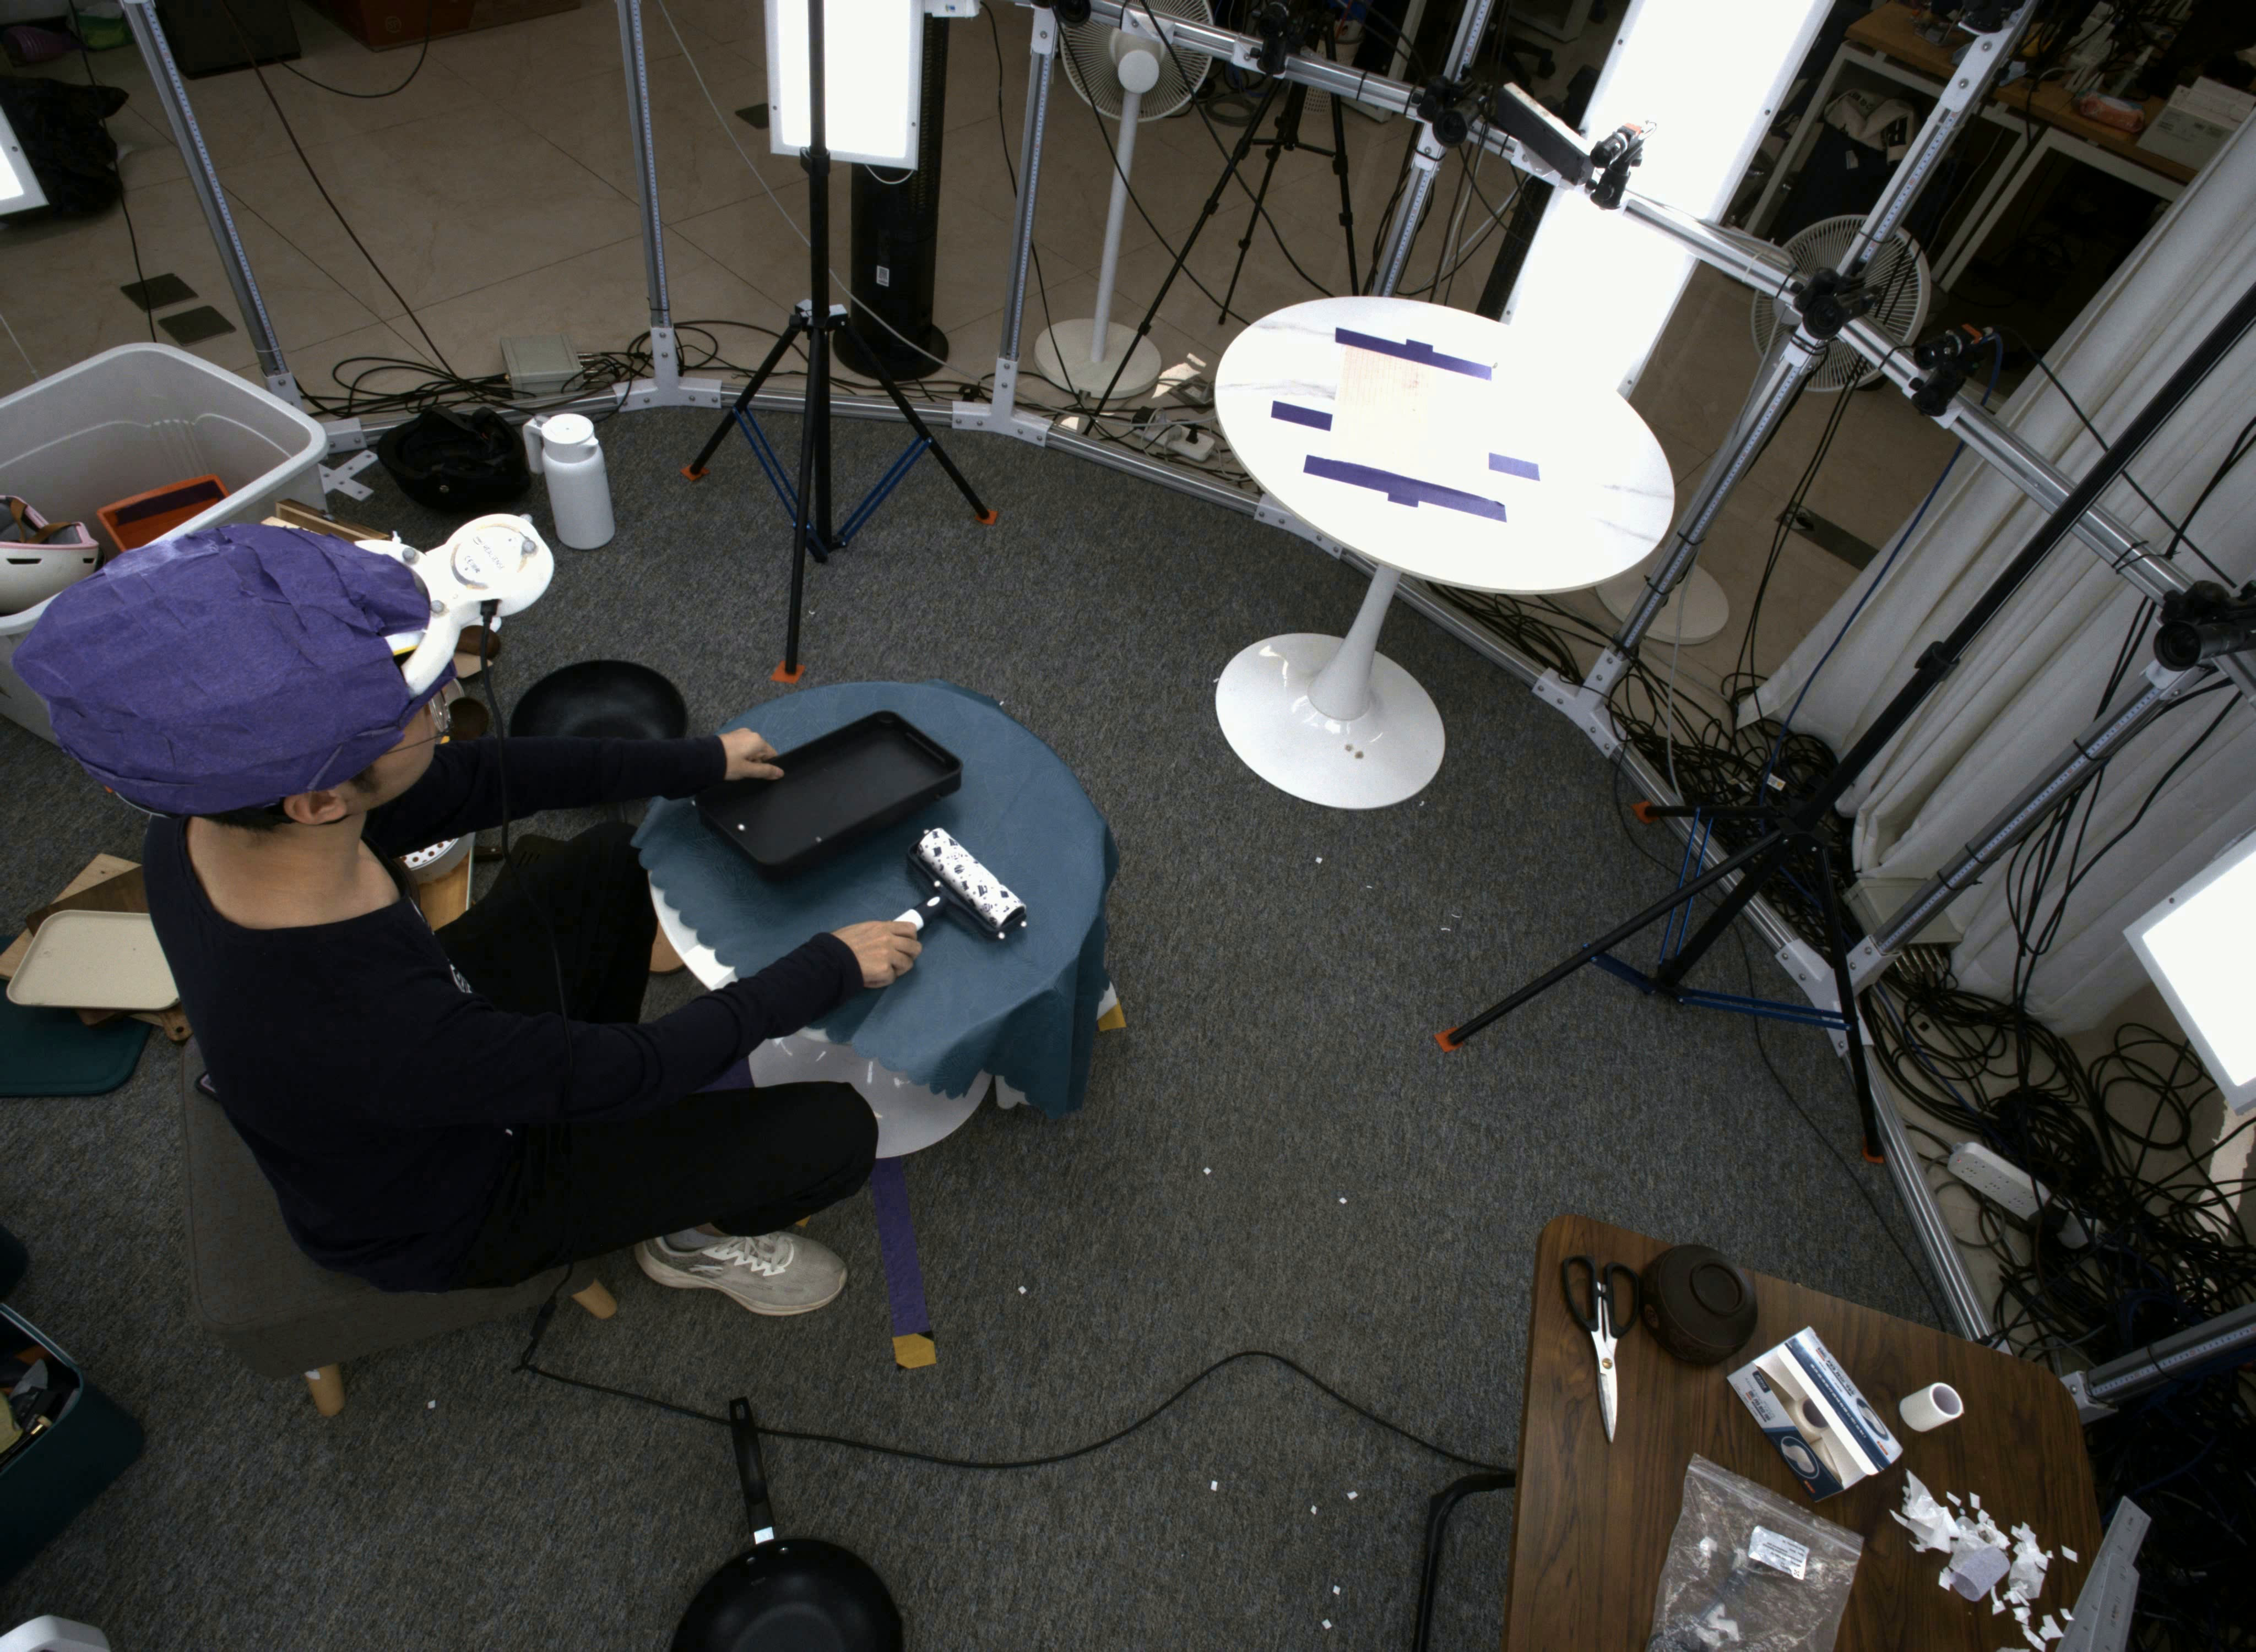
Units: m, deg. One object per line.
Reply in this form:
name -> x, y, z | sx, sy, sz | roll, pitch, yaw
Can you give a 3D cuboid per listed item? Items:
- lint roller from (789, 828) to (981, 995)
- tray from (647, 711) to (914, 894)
lint roller -> -0.327, 0.124, 1.640 | 0.173, 0.051, 0.247 | 40, 57, 14
tray -> -0.450, -0.039, 1.693 | 0.178, 0.038, 0.319 | 33, 48, 27
